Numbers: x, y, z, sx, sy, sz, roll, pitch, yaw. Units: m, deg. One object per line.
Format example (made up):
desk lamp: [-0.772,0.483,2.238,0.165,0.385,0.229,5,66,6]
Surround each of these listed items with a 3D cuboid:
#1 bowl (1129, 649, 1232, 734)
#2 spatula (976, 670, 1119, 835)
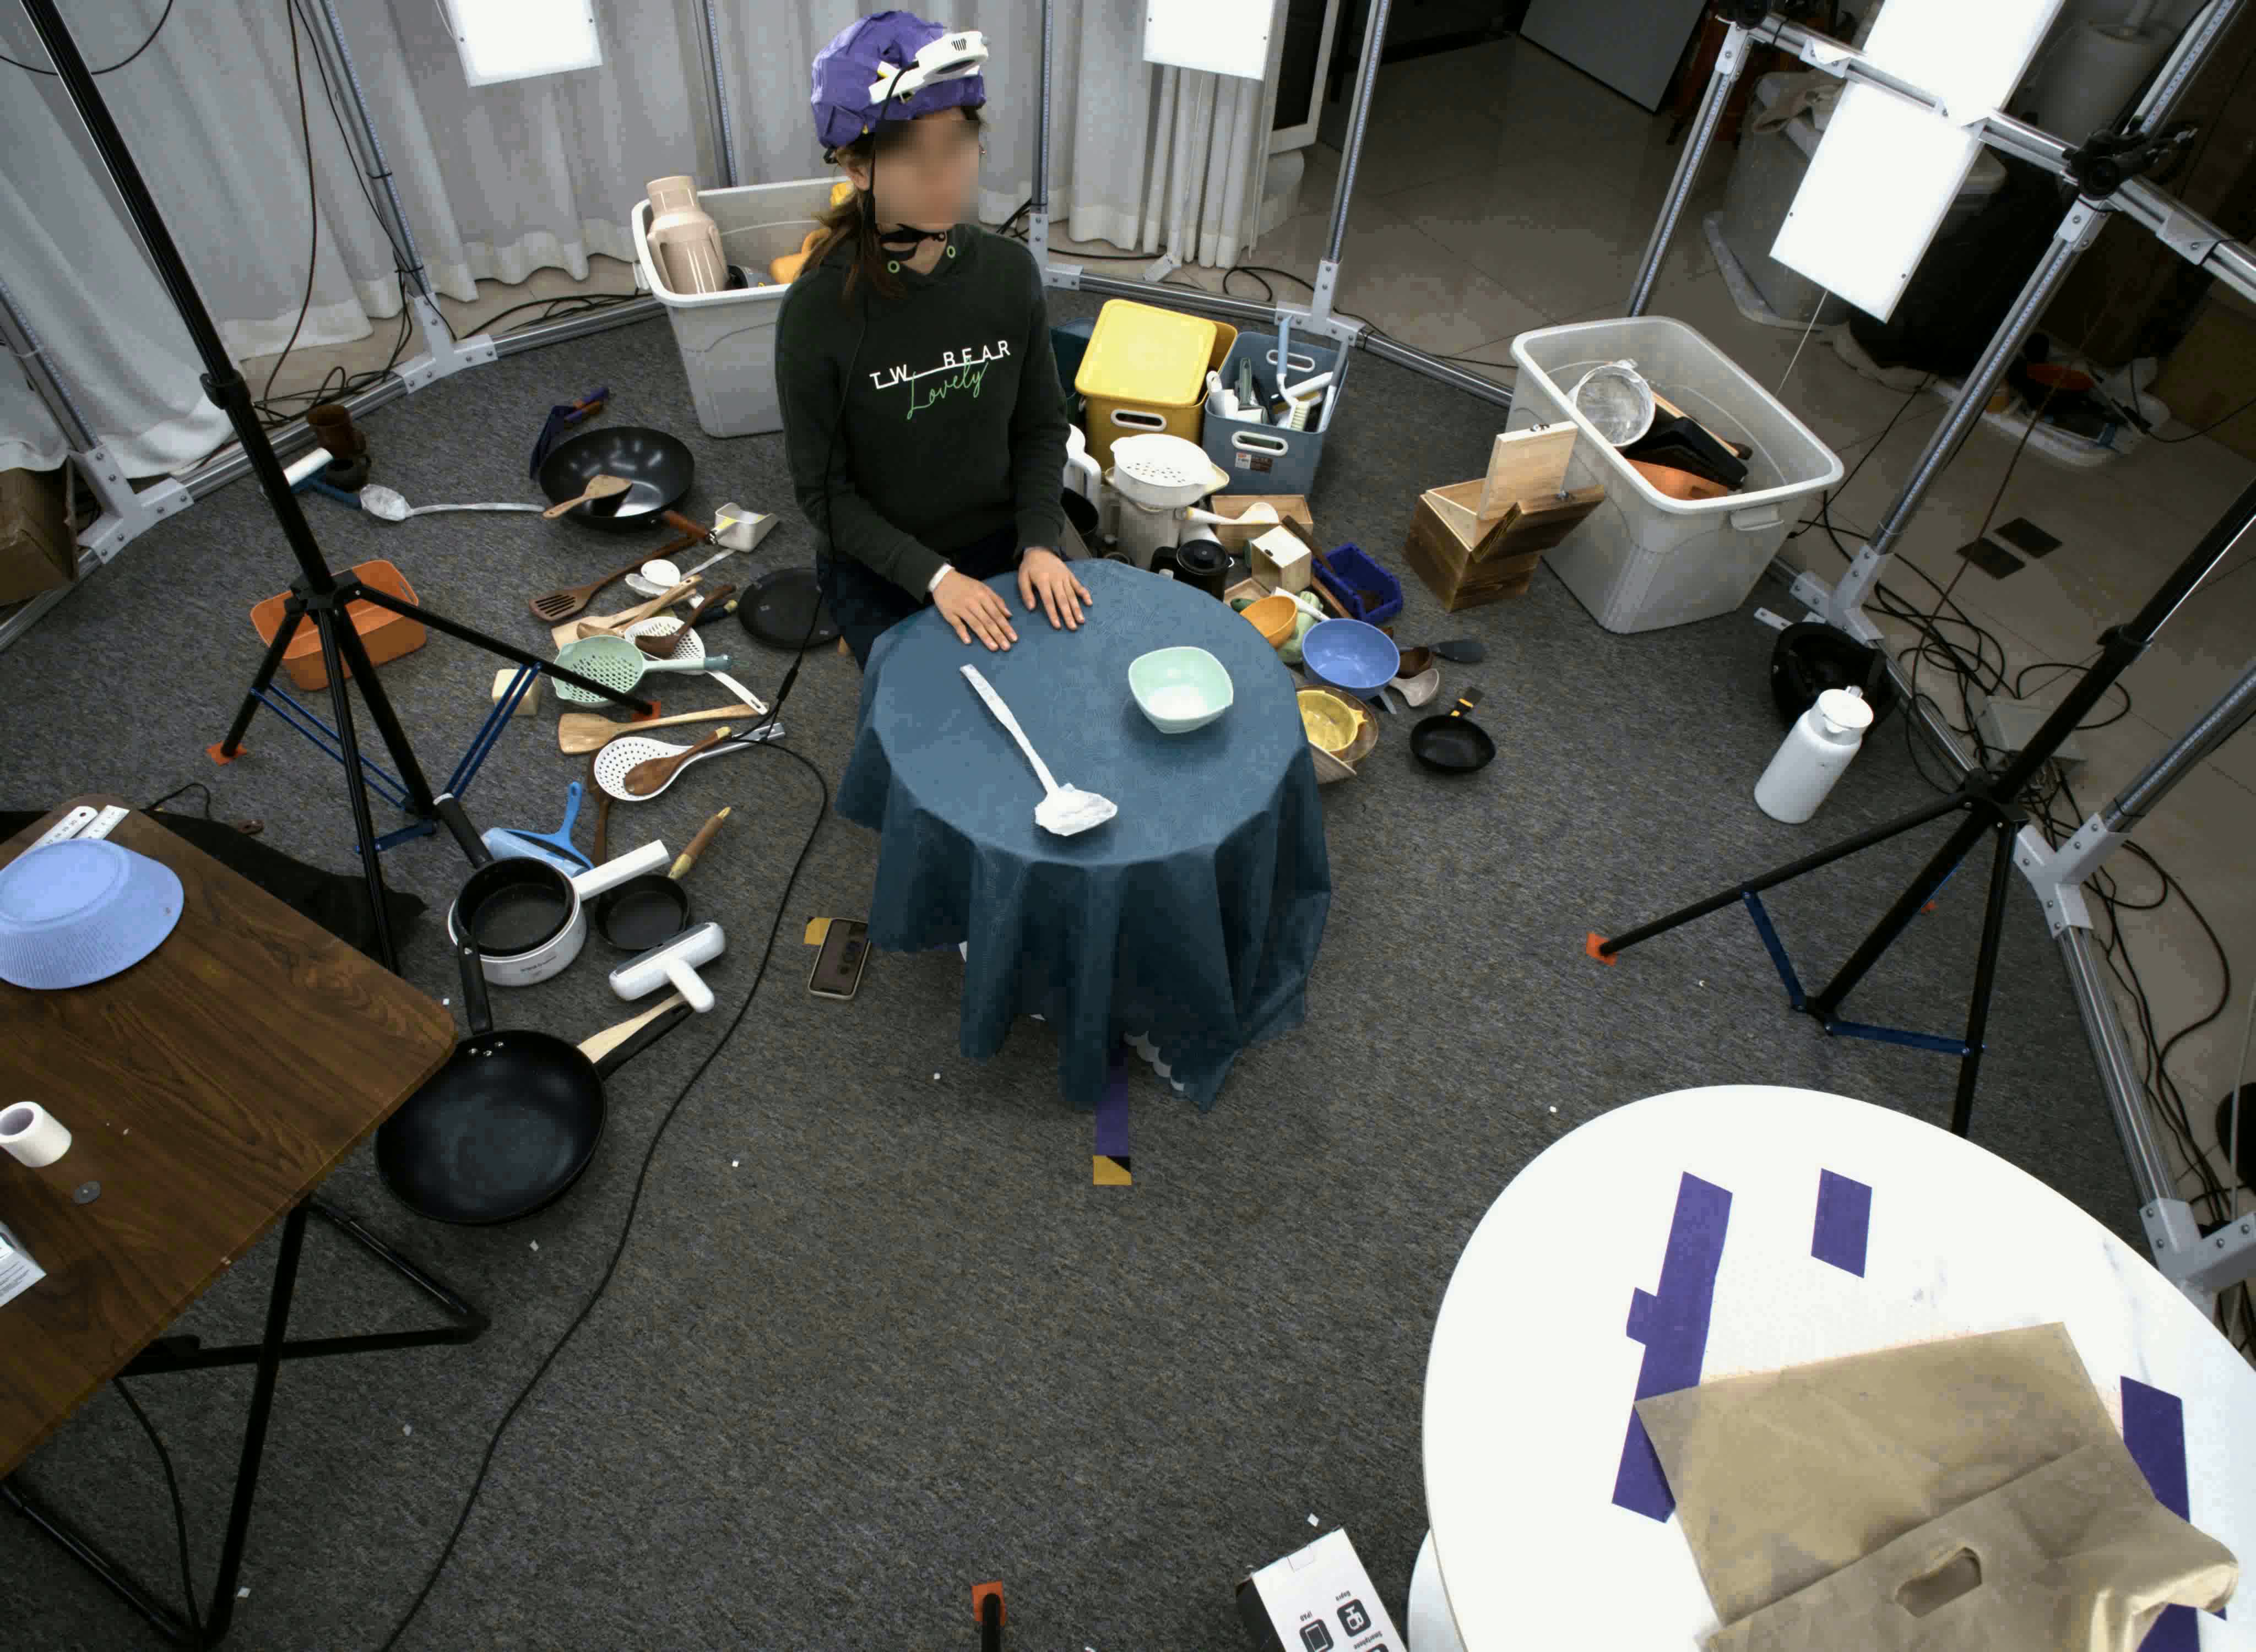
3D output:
bowl: [0.070,-0.182,1.811,0.151,0.057,0.155,4,49,-5]
spatula: [-0.133,-0.111,1.747,0.099,0.043,0.373,-21,54,-19]
